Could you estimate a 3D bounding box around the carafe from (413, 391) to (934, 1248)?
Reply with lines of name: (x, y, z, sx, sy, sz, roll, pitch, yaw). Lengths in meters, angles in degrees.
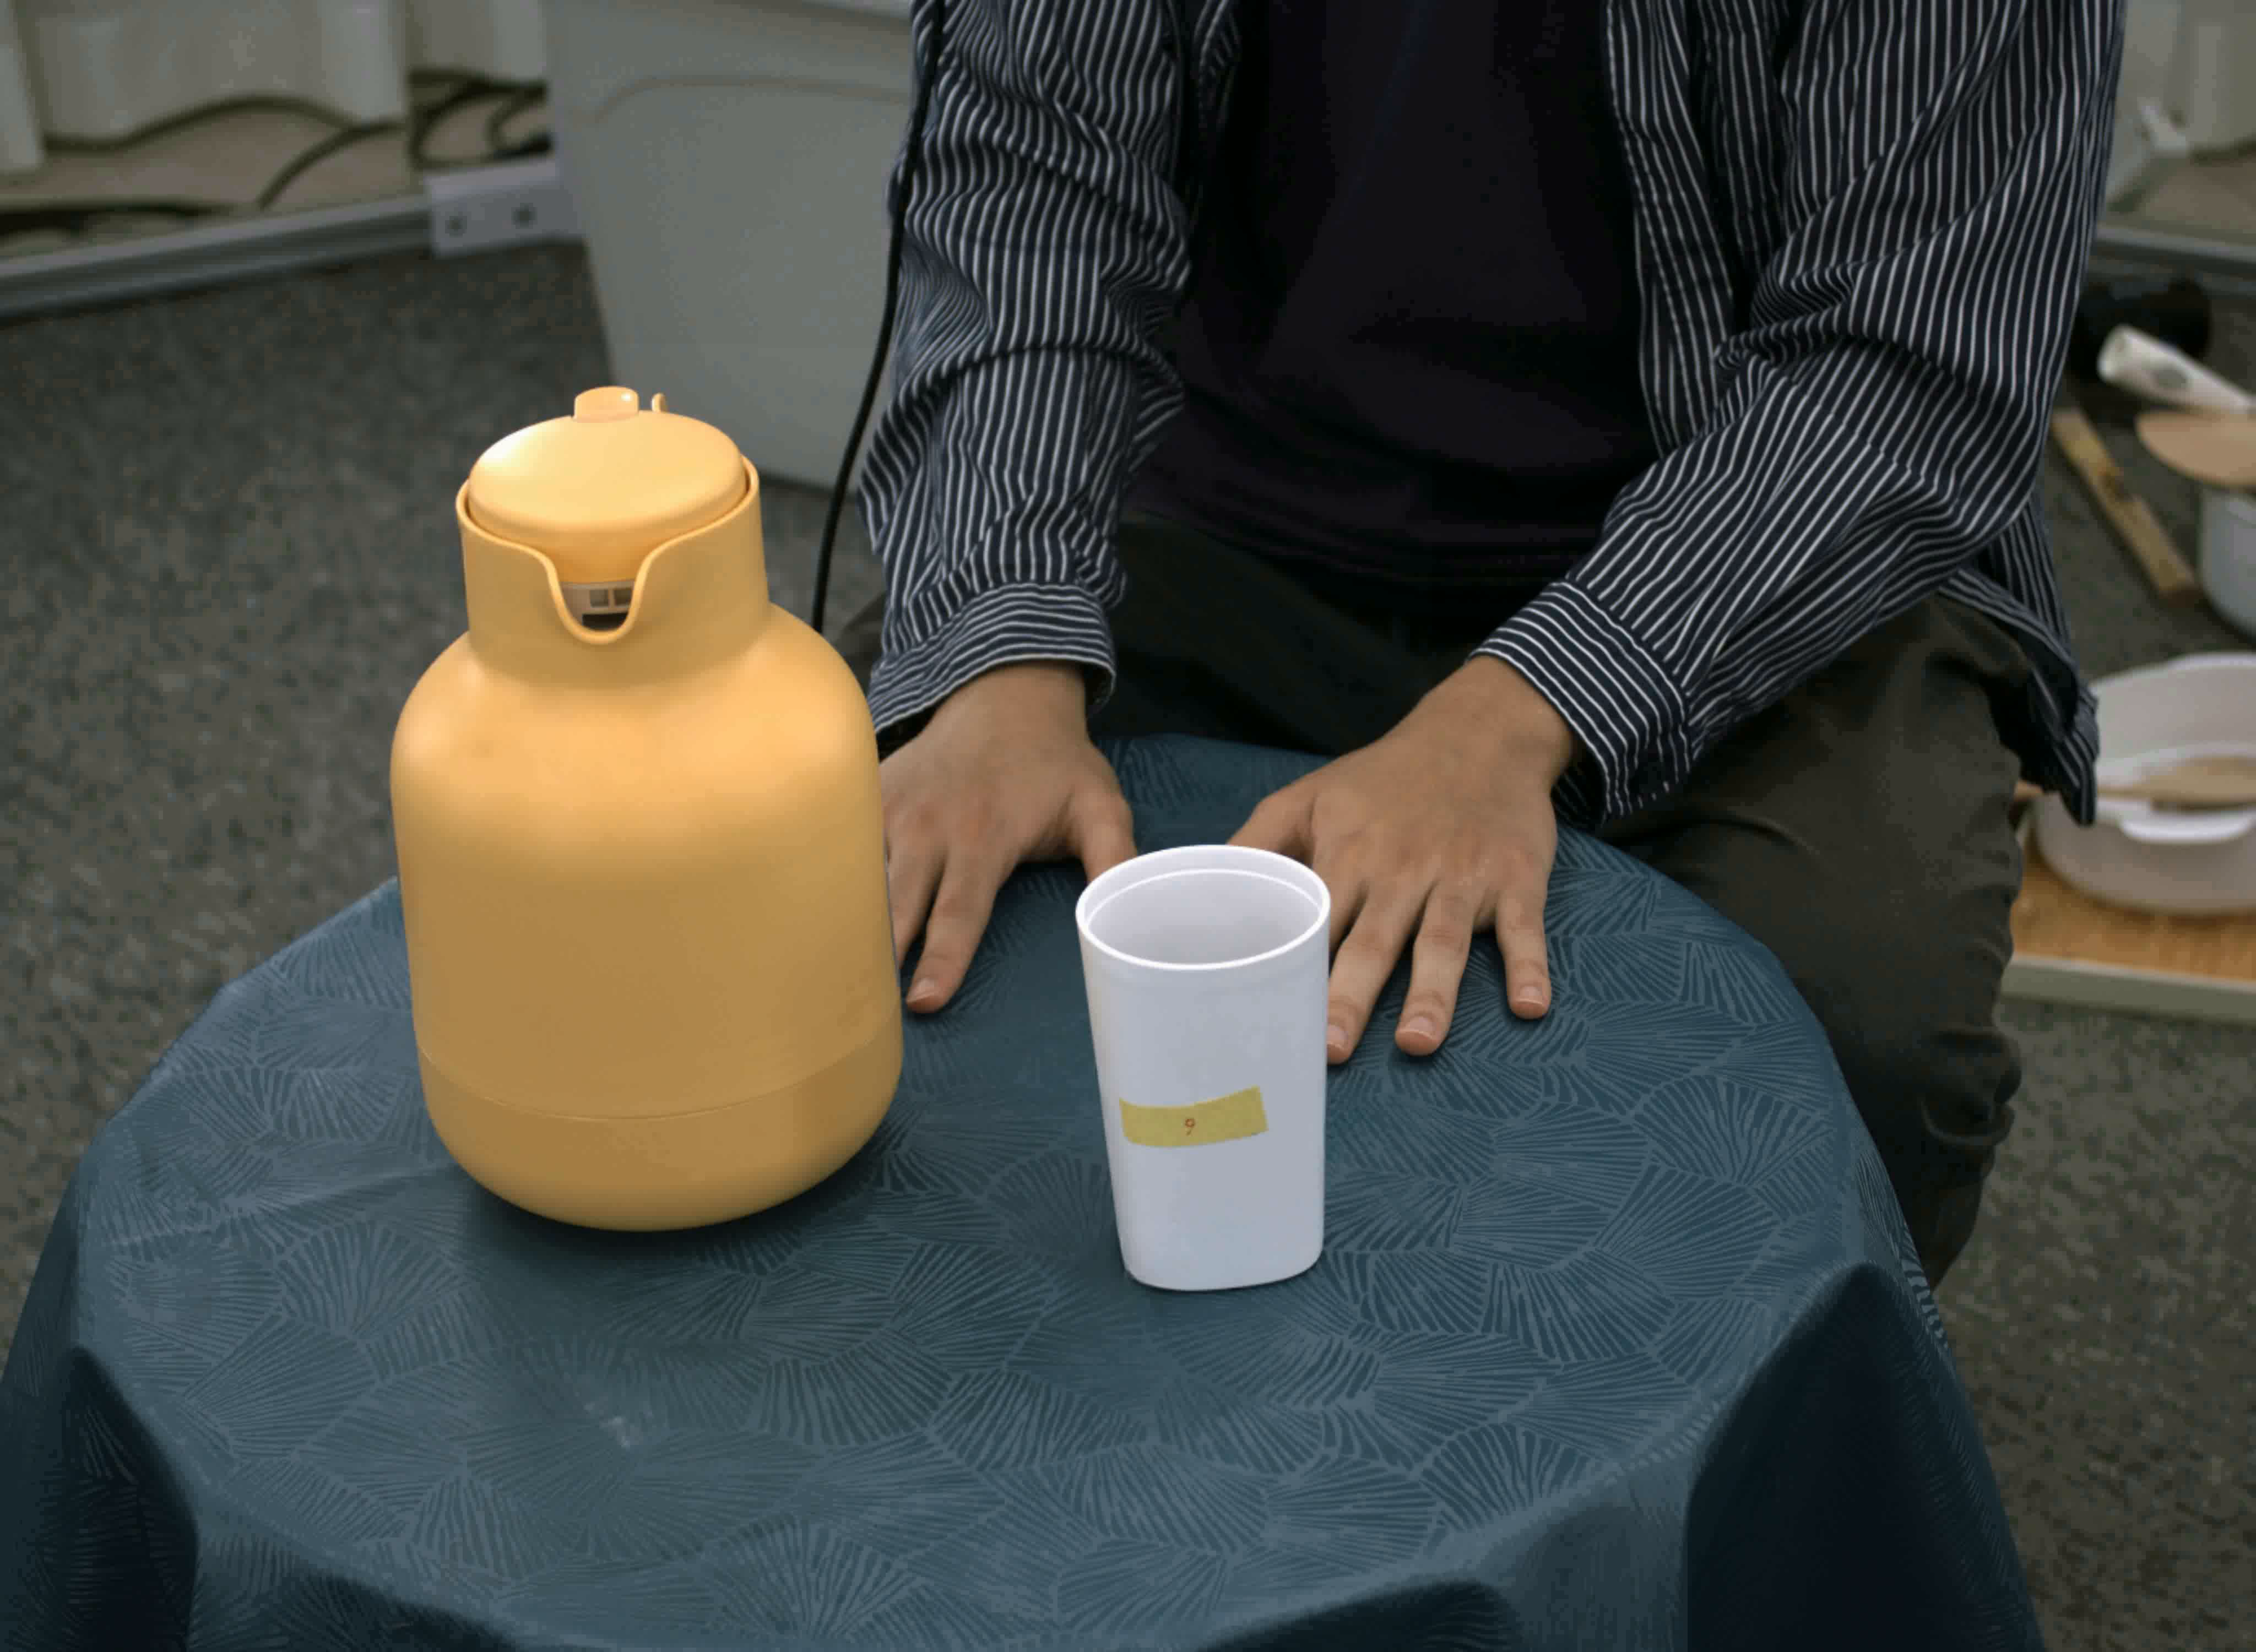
carafe: (-0.151, -0.012, 1.849, 0.163, 0.257, 0.205, -4, 27, -3)

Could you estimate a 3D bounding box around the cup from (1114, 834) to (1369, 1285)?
cup: (0.039, 0.077, 1.798, 0.081, 0.124, 0.083, -3, 26, 2)
